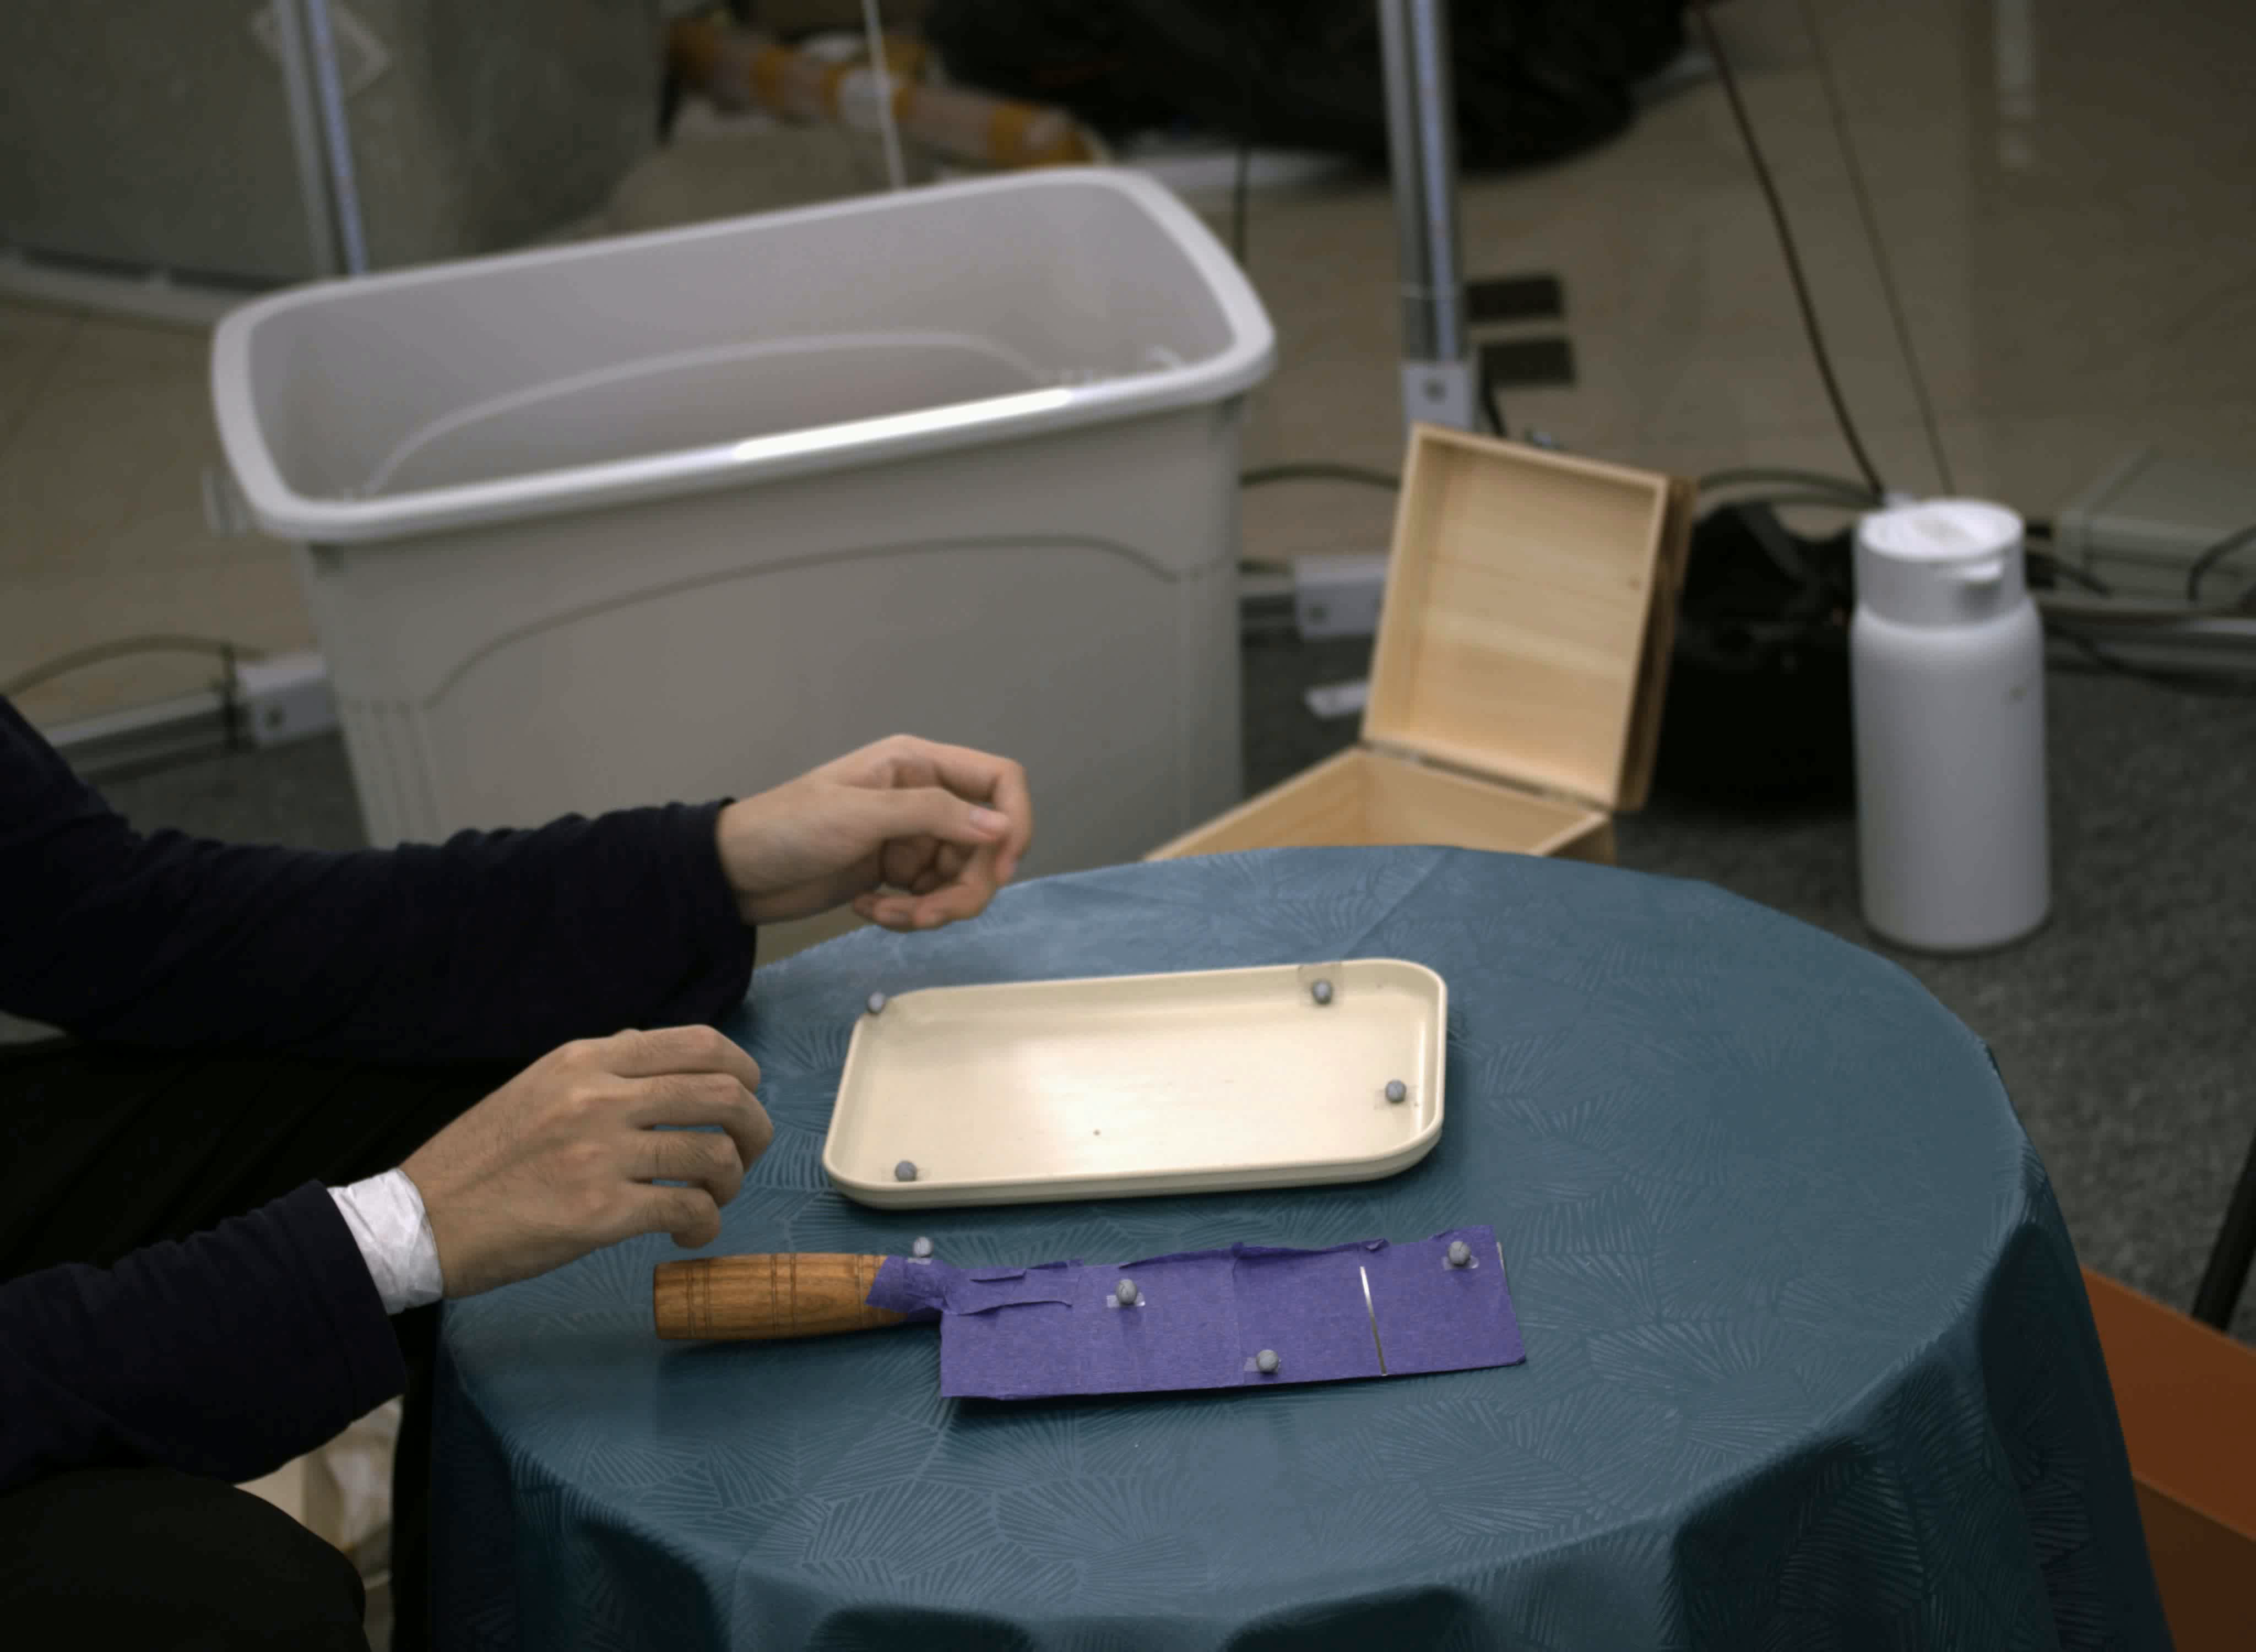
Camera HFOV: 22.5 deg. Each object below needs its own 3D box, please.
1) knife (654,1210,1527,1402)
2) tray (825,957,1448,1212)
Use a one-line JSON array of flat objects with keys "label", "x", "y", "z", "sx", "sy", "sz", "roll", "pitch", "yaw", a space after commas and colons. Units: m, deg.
[{"label": "knife", "x": -0.016, "y": 0.176, "z": 2.044, "sx": 0.315, "sy": 0.033, "sz": 0.102, "roll": -6, "pitch": 25, "yaw": 0}, {"label": "tray", "x": 0.006, "y": 0.102, "z": 2.209, "sx": 0.239, "sy": 0.018, "sz": 0.169, "roll": -4, "pitch": 26, "yaw": 6}]
